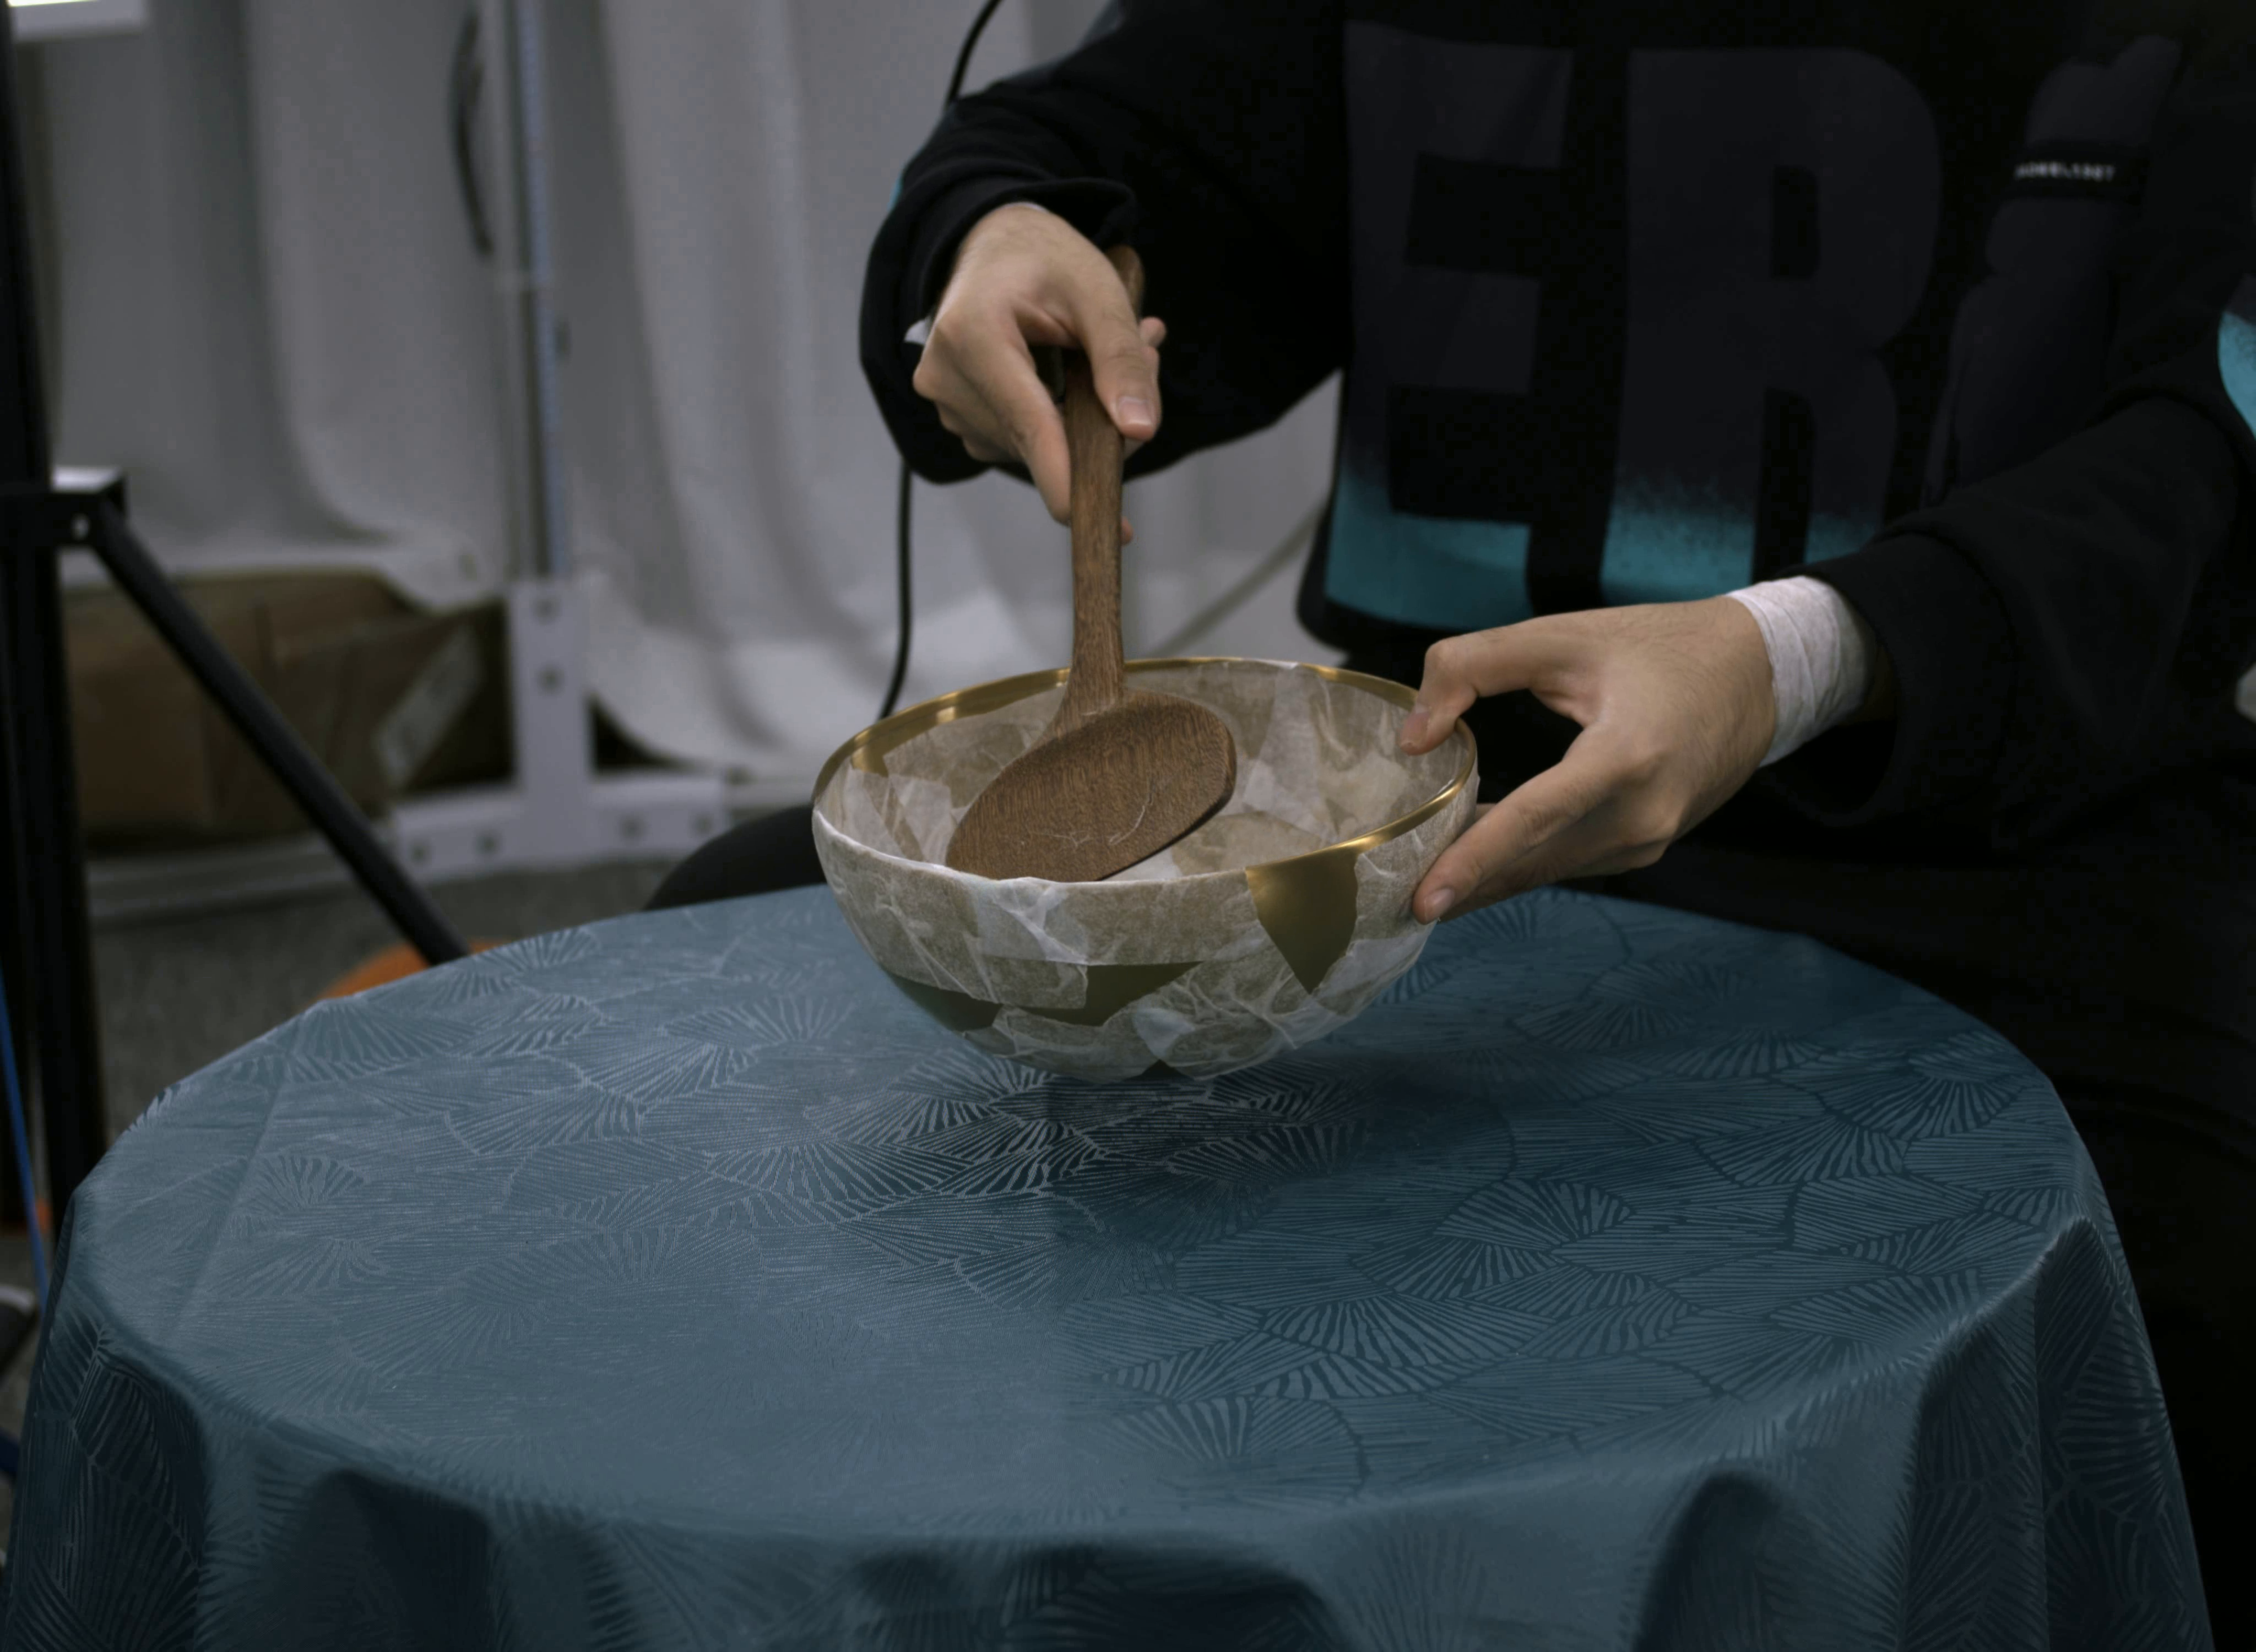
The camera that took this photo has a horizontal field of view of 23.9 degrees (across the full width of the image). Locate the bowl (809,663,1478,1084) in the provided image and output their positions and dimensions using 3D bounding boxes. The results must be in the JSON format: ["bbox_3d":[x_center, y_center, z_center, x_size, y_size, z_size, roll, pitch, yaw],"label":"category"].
[{"bbox_3d":[0.010,0.022,1.611,0.214,0.094,0.216,-5,18,0],"label":"bowl"}]

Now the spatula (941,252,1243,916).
[{"bbox_3d":[-0.010,-0.088,1.674,0.096,0.015,0.389,-22,31,14],"label":"spatula"}]
